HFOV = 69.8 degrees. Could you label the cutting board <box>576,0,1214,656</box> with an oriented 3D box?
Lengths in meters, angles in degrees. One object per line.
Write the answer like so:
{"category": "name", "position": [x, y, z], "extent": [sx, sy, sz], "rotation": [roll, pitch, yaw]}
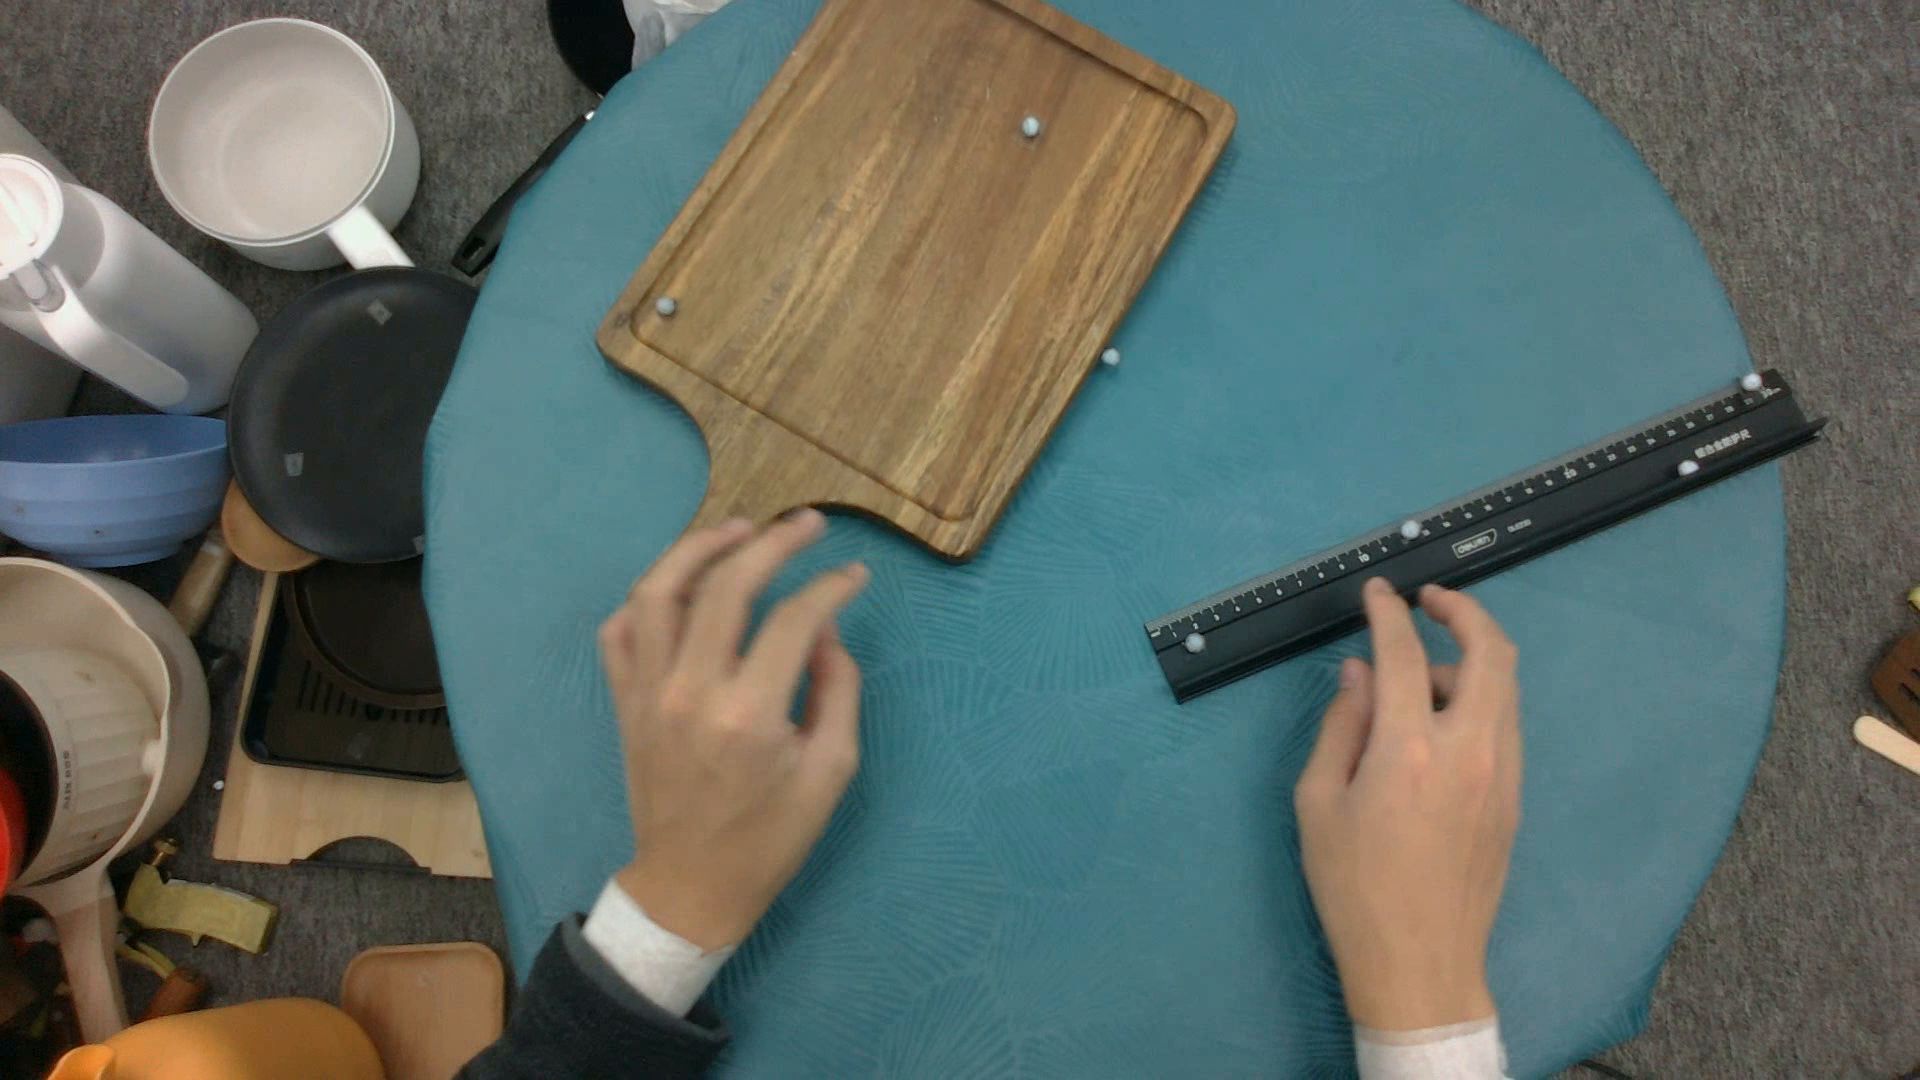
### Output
{"category": "cutting board", "position": [-0.050, -0.104, 0.616], "extent": [0.201, 0.023, 0.353], "rotation": [30, 78, 6]}

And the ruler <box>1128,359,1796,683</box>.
{"category": "ruler", "position": [0.223, -0.013, 0.604], "extent": [0.313, 0.017, 0.039], "rotation": [-21, 75, -6]}
